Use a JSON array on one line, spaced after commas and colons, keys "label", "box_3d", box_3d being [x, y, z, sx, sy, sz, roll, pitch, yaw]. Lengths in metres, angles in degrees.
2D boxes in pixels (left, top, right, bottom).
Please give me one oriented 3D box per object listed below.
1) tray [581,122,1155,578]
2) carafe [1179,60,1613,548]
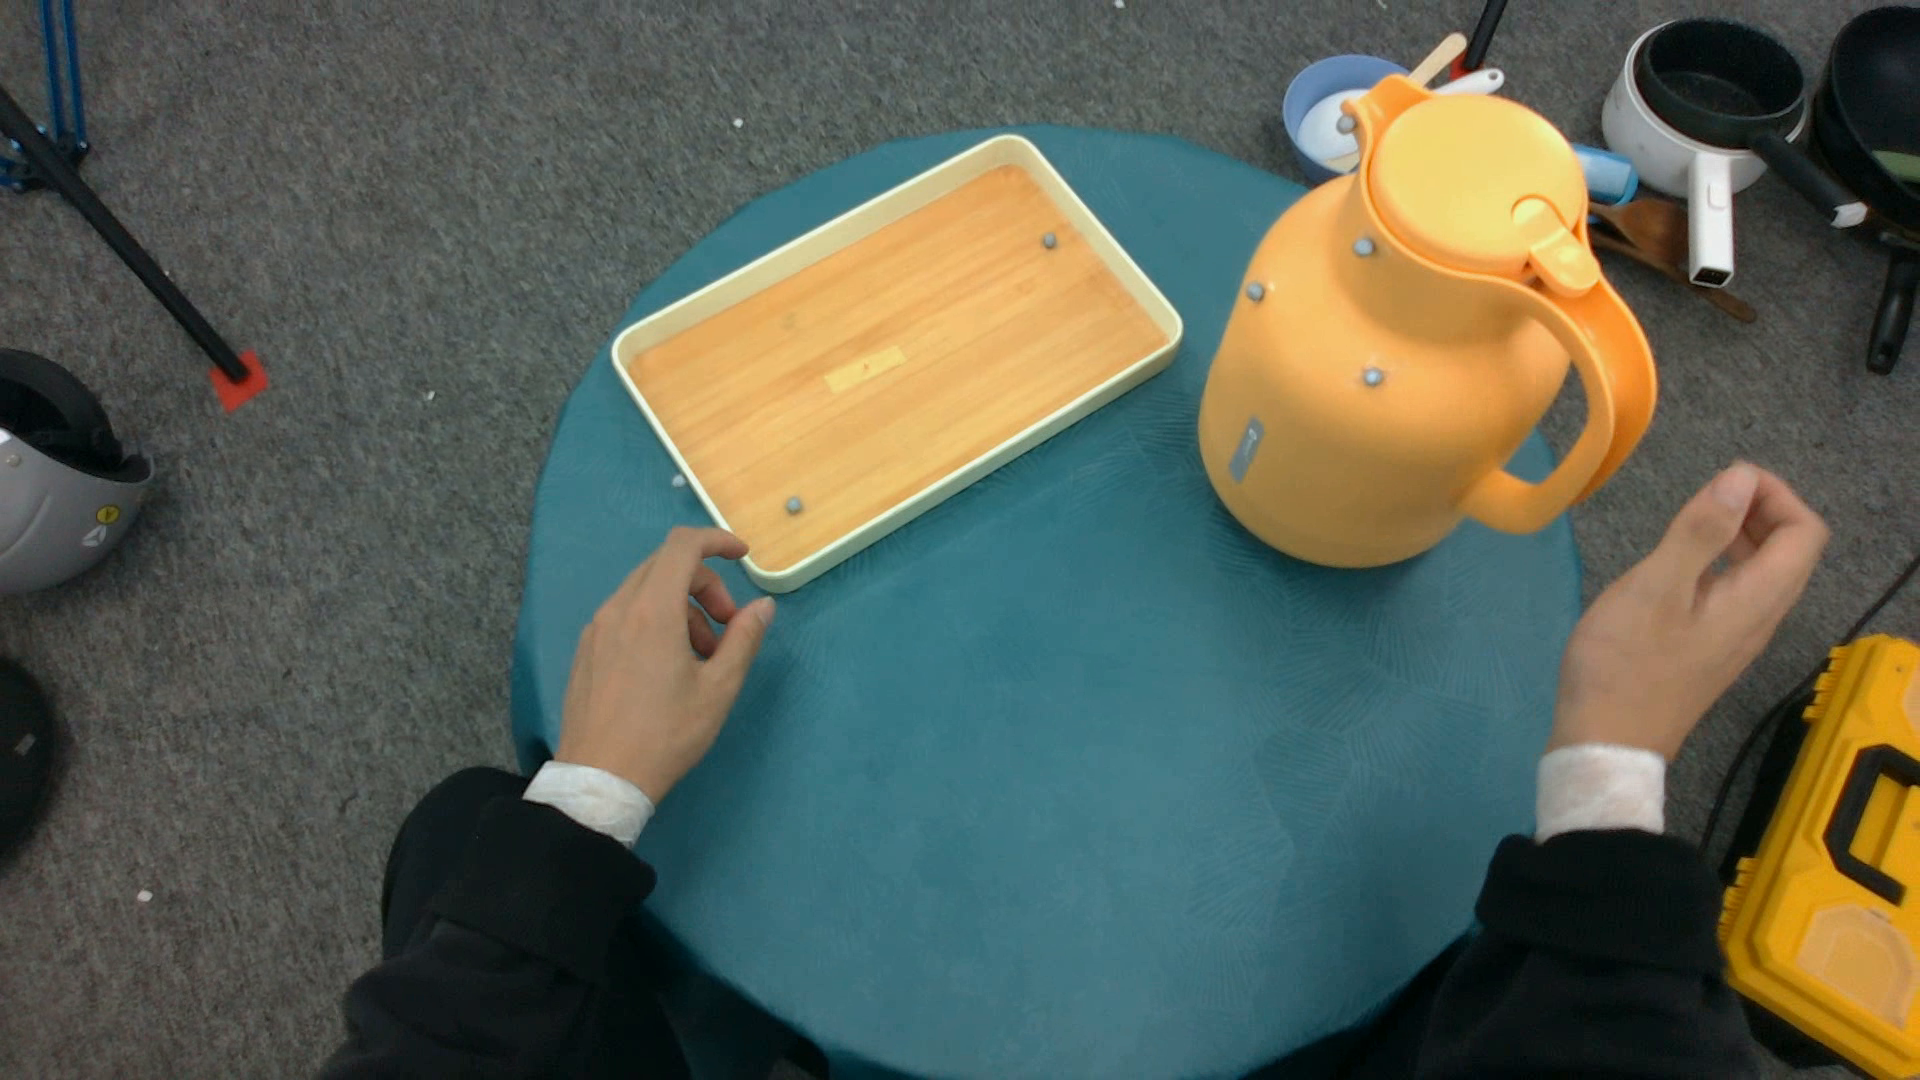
[{"label": "tray", "box_3d": [-0.052, -0.123, 0.824, 0.301, 0.027, 0.192, -32, 69, -15]}, {"label": "carafe", "box_3d": [0.215, -0.097, 0.693, 0.164, 0.259, 0.202, -30, 68, -12]}]
